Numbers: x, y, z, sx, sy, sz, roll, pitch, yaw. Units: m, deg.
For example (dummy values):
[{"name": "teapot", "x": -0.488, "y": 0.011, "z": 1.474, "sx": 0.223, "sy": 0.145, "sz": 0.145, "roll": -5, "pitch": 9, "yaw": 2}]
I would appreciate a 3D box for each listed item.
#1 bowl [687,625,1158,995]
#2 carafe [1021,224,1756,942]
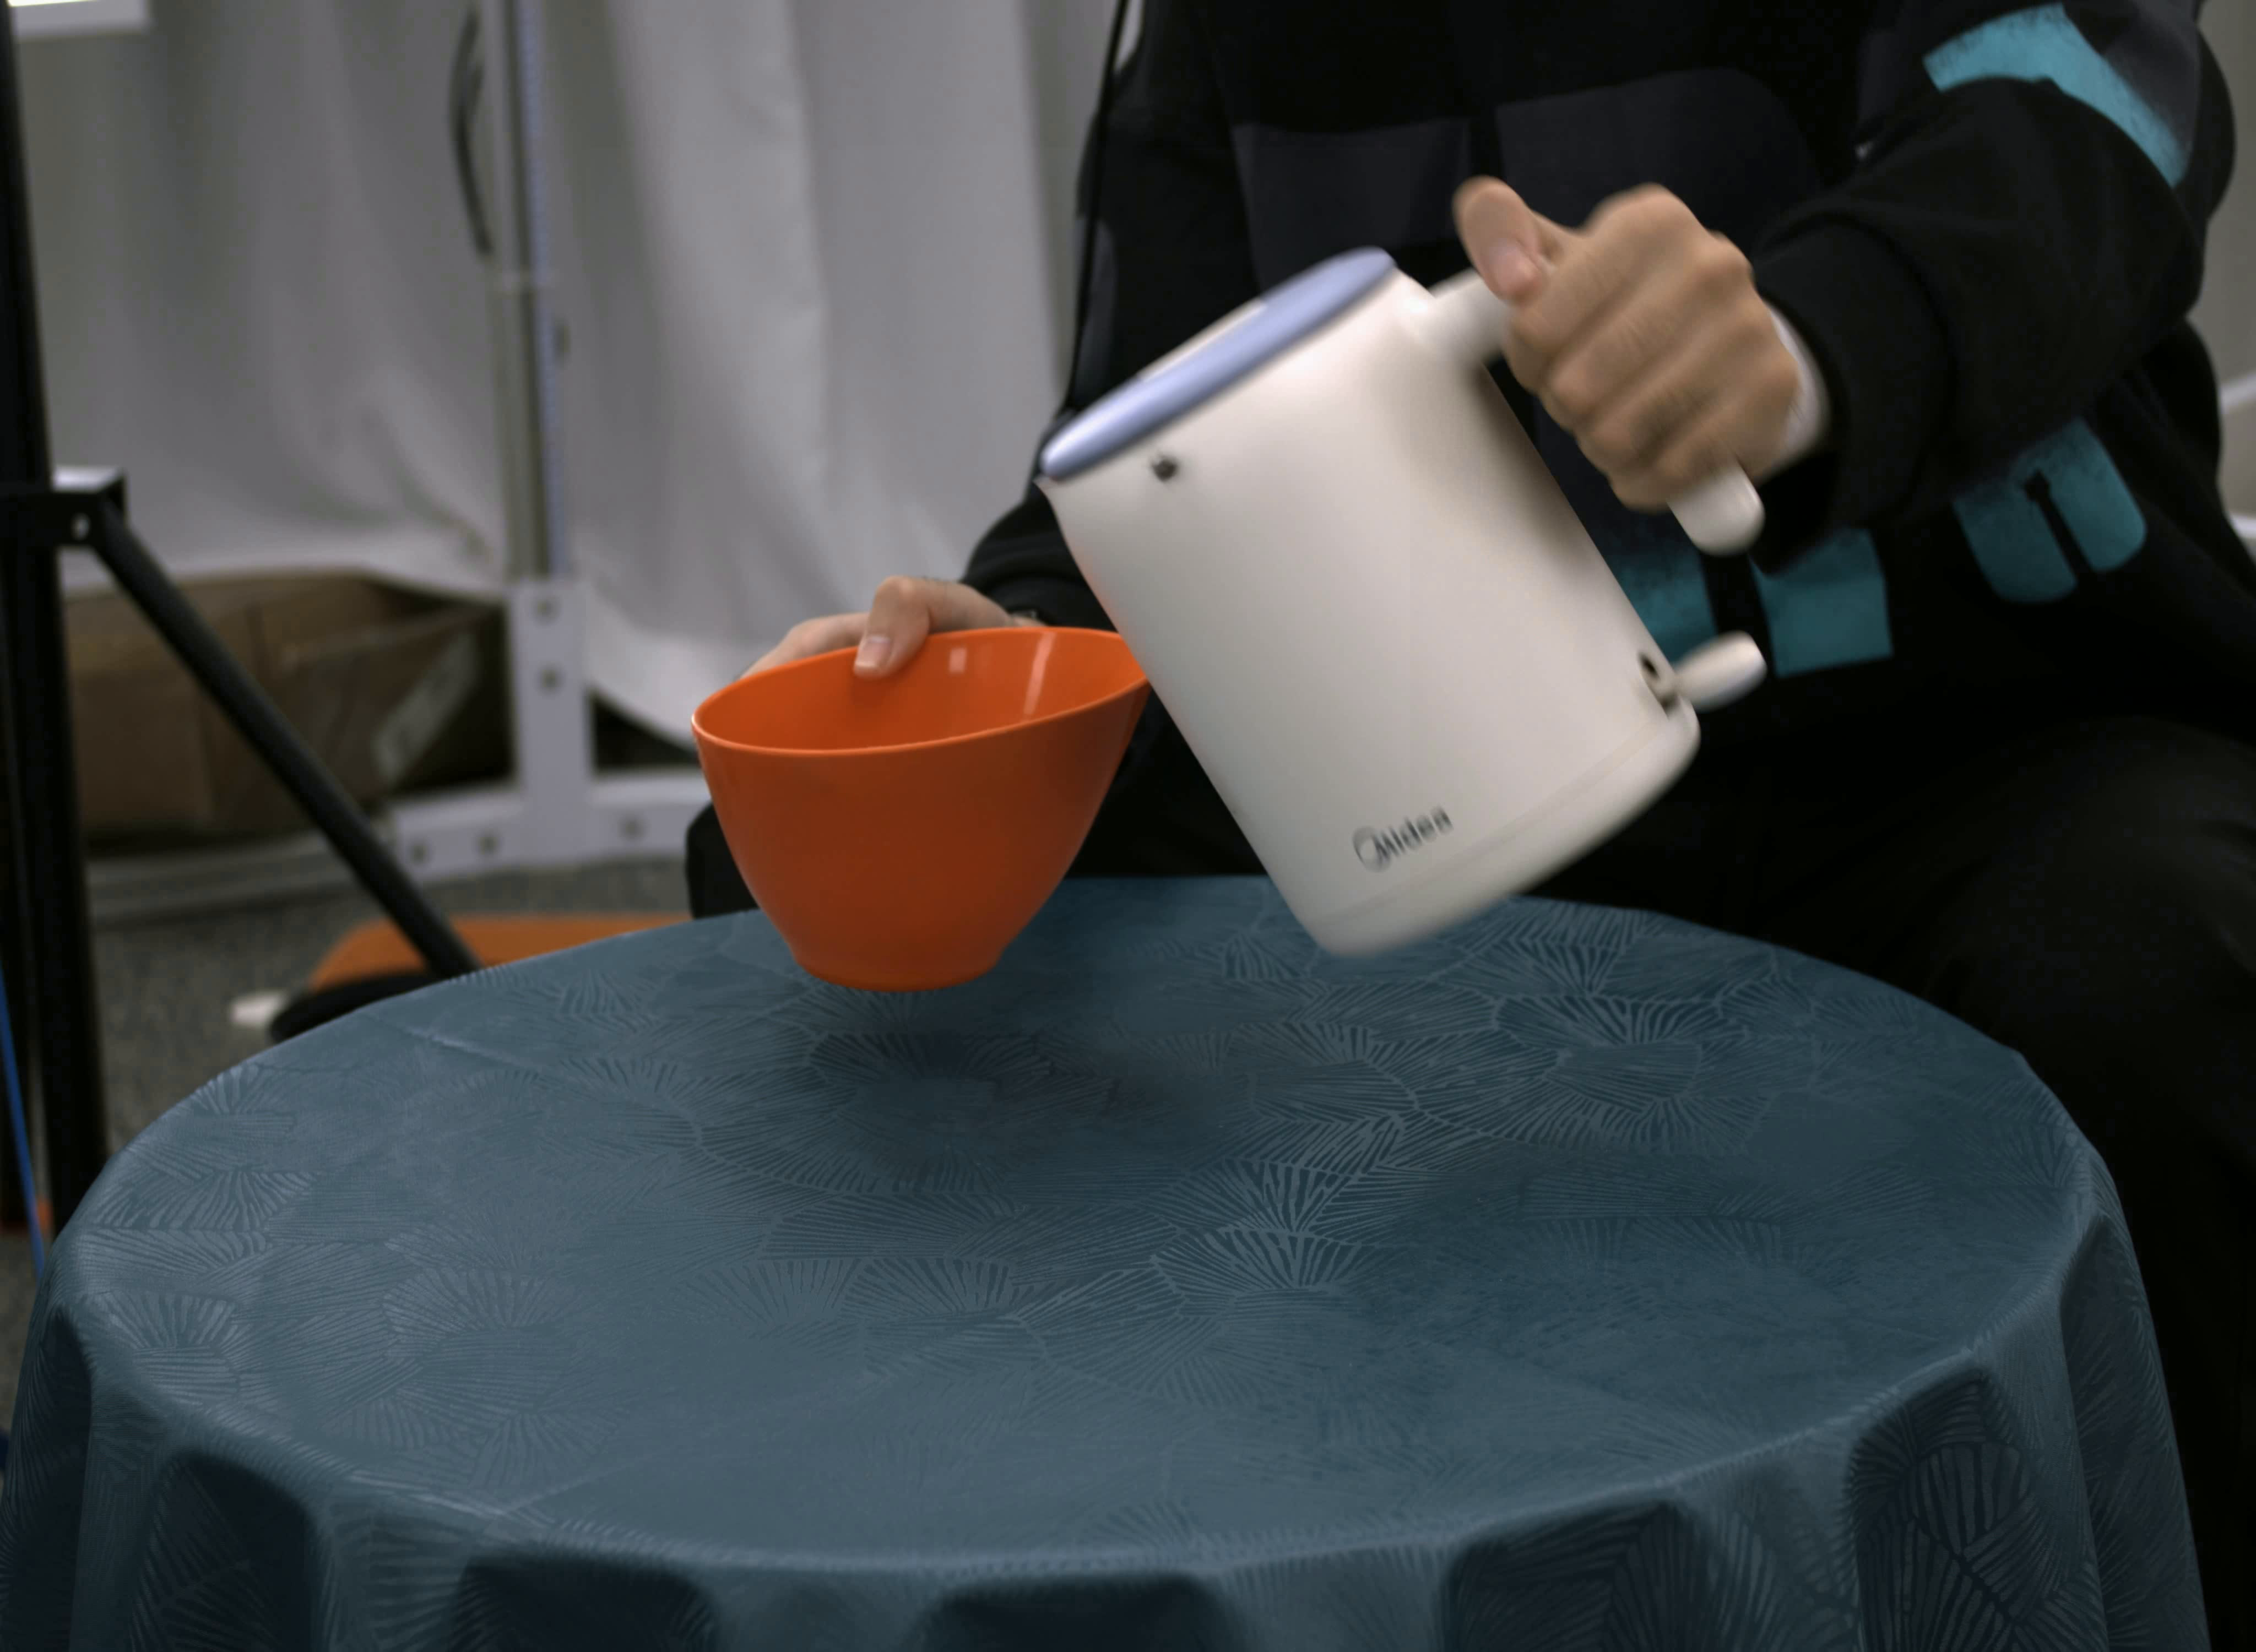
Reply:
[{"name": "bowl", "x": -0.065, "y": -0.004, "z": 1.675, "sx": 0.147, "sy": 0.104, "sz": 0.149, "roll": 0, "pitch": 21, "yaw": -1}, {"name": "carafe", "x": 0.085, "y": -0.080, "z": 1.526, "sx": 0.193, "sy": 0.182, "sz": 0.131, "roll": -27, "pitch": 8, "yaw": 26}]
